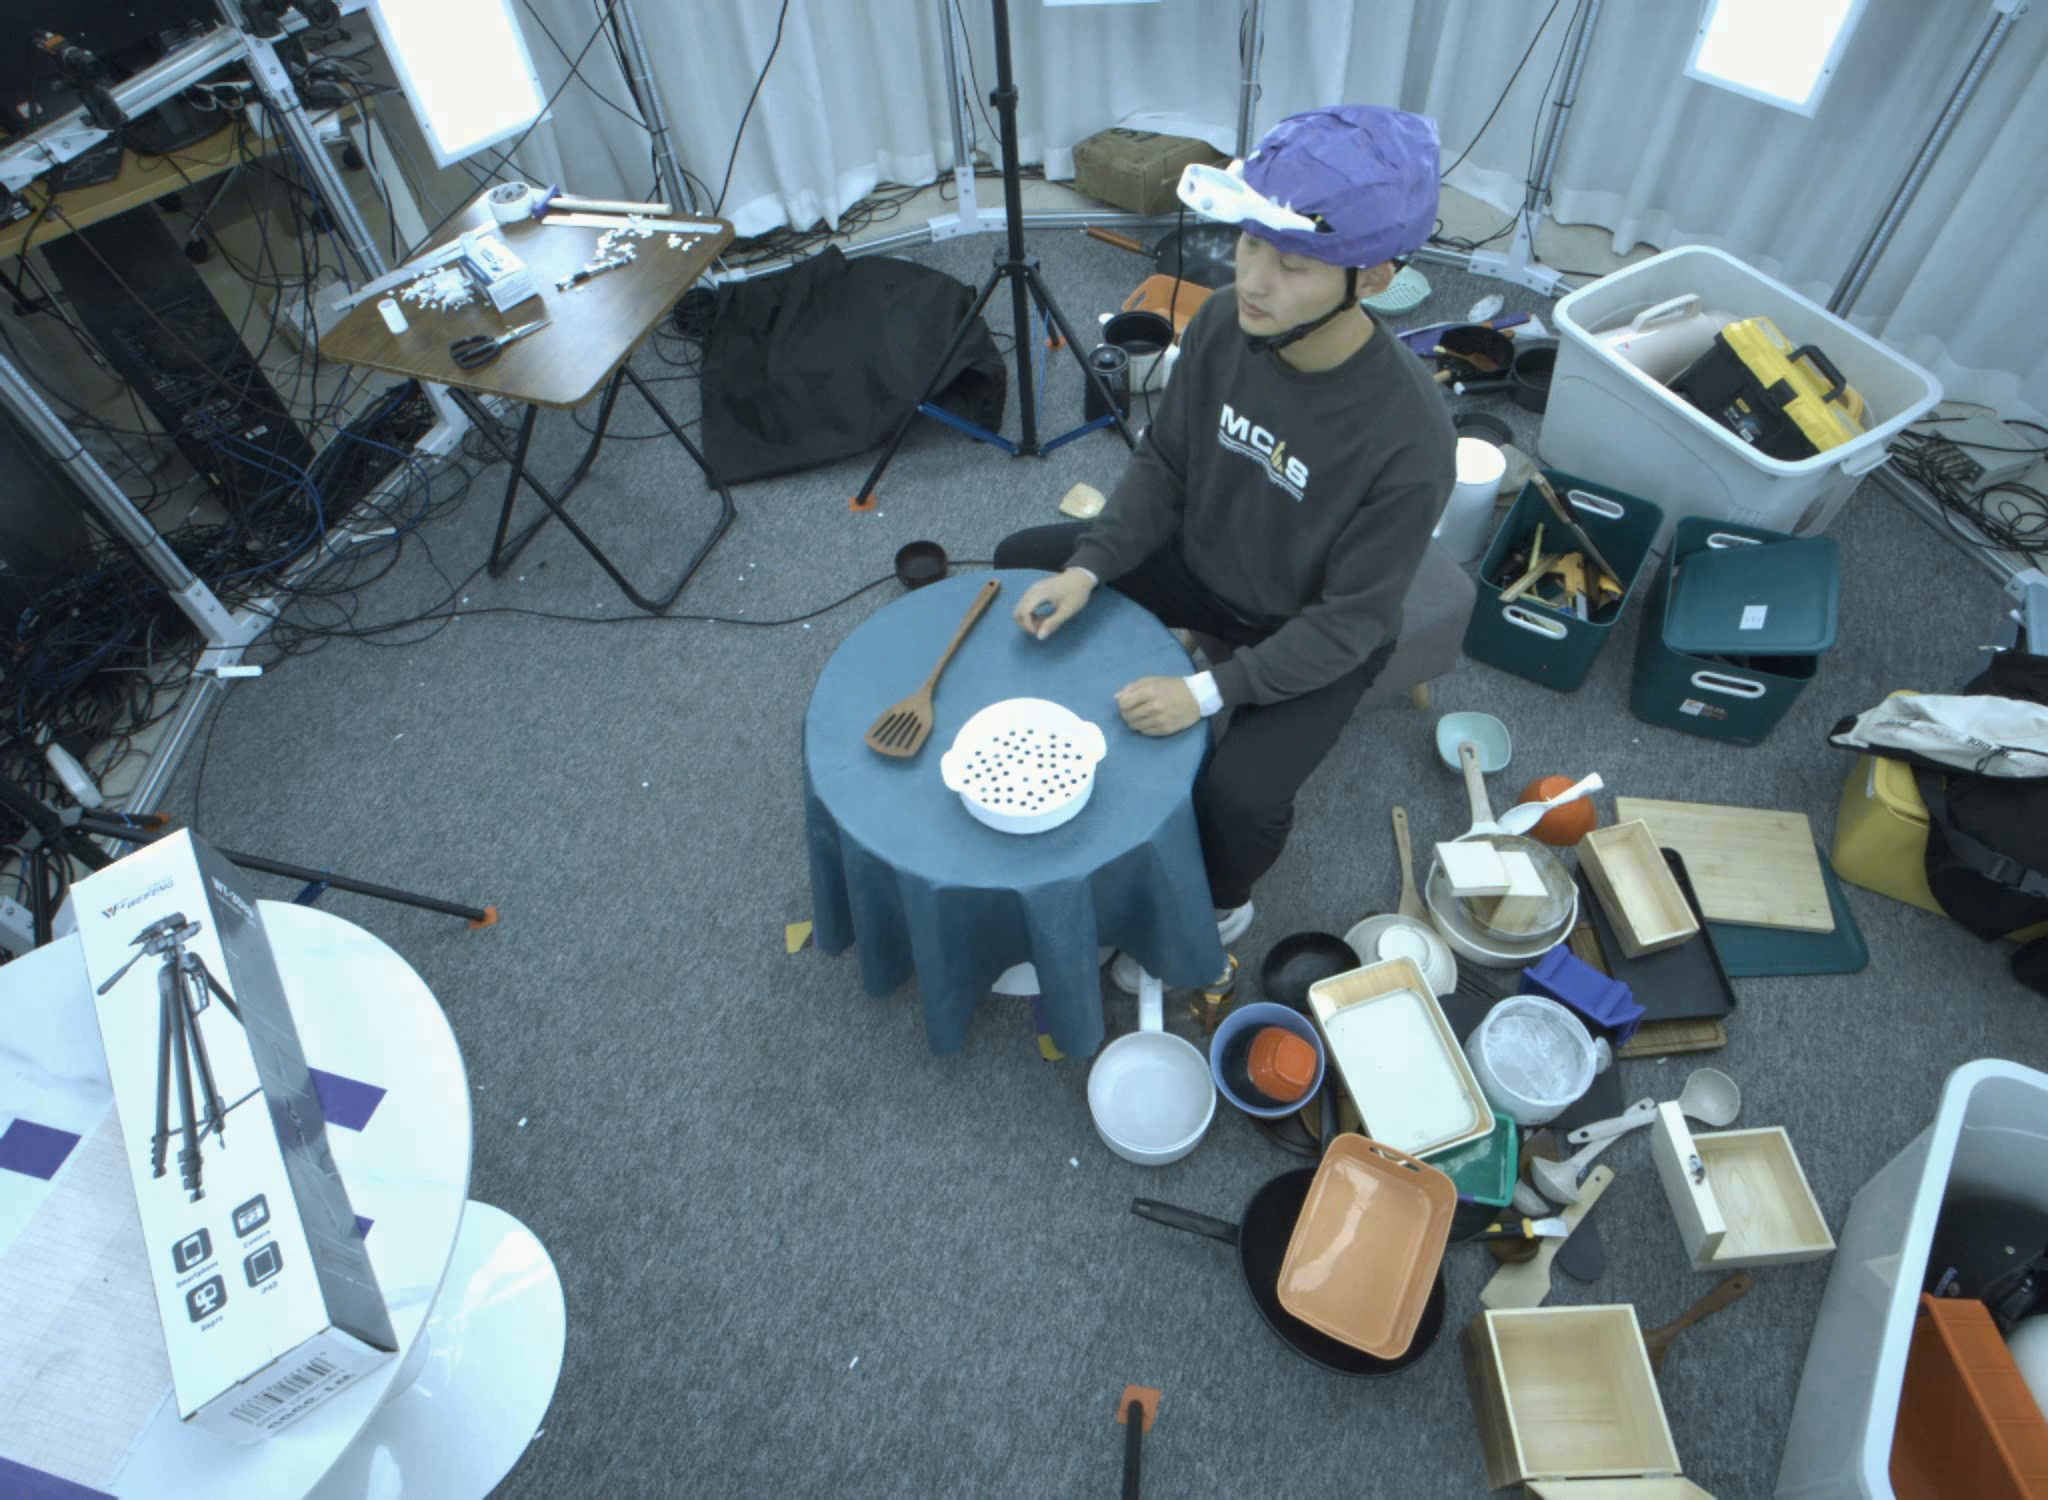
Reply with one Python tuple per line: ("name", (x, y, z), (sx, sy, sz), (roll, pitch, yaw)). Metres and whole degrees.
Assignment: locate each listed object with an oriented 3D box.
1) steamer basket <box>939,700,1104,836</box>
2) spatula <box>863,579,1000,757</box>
("steamer basket", (-0.004, 0.027, 1.738), (0.232, 0.070, 0.199), (-10, 57, -10))
("spatula", (-0.125, -0.134, 1.881), (0.085, 0.024, 0.385), (20, 56, 12))
